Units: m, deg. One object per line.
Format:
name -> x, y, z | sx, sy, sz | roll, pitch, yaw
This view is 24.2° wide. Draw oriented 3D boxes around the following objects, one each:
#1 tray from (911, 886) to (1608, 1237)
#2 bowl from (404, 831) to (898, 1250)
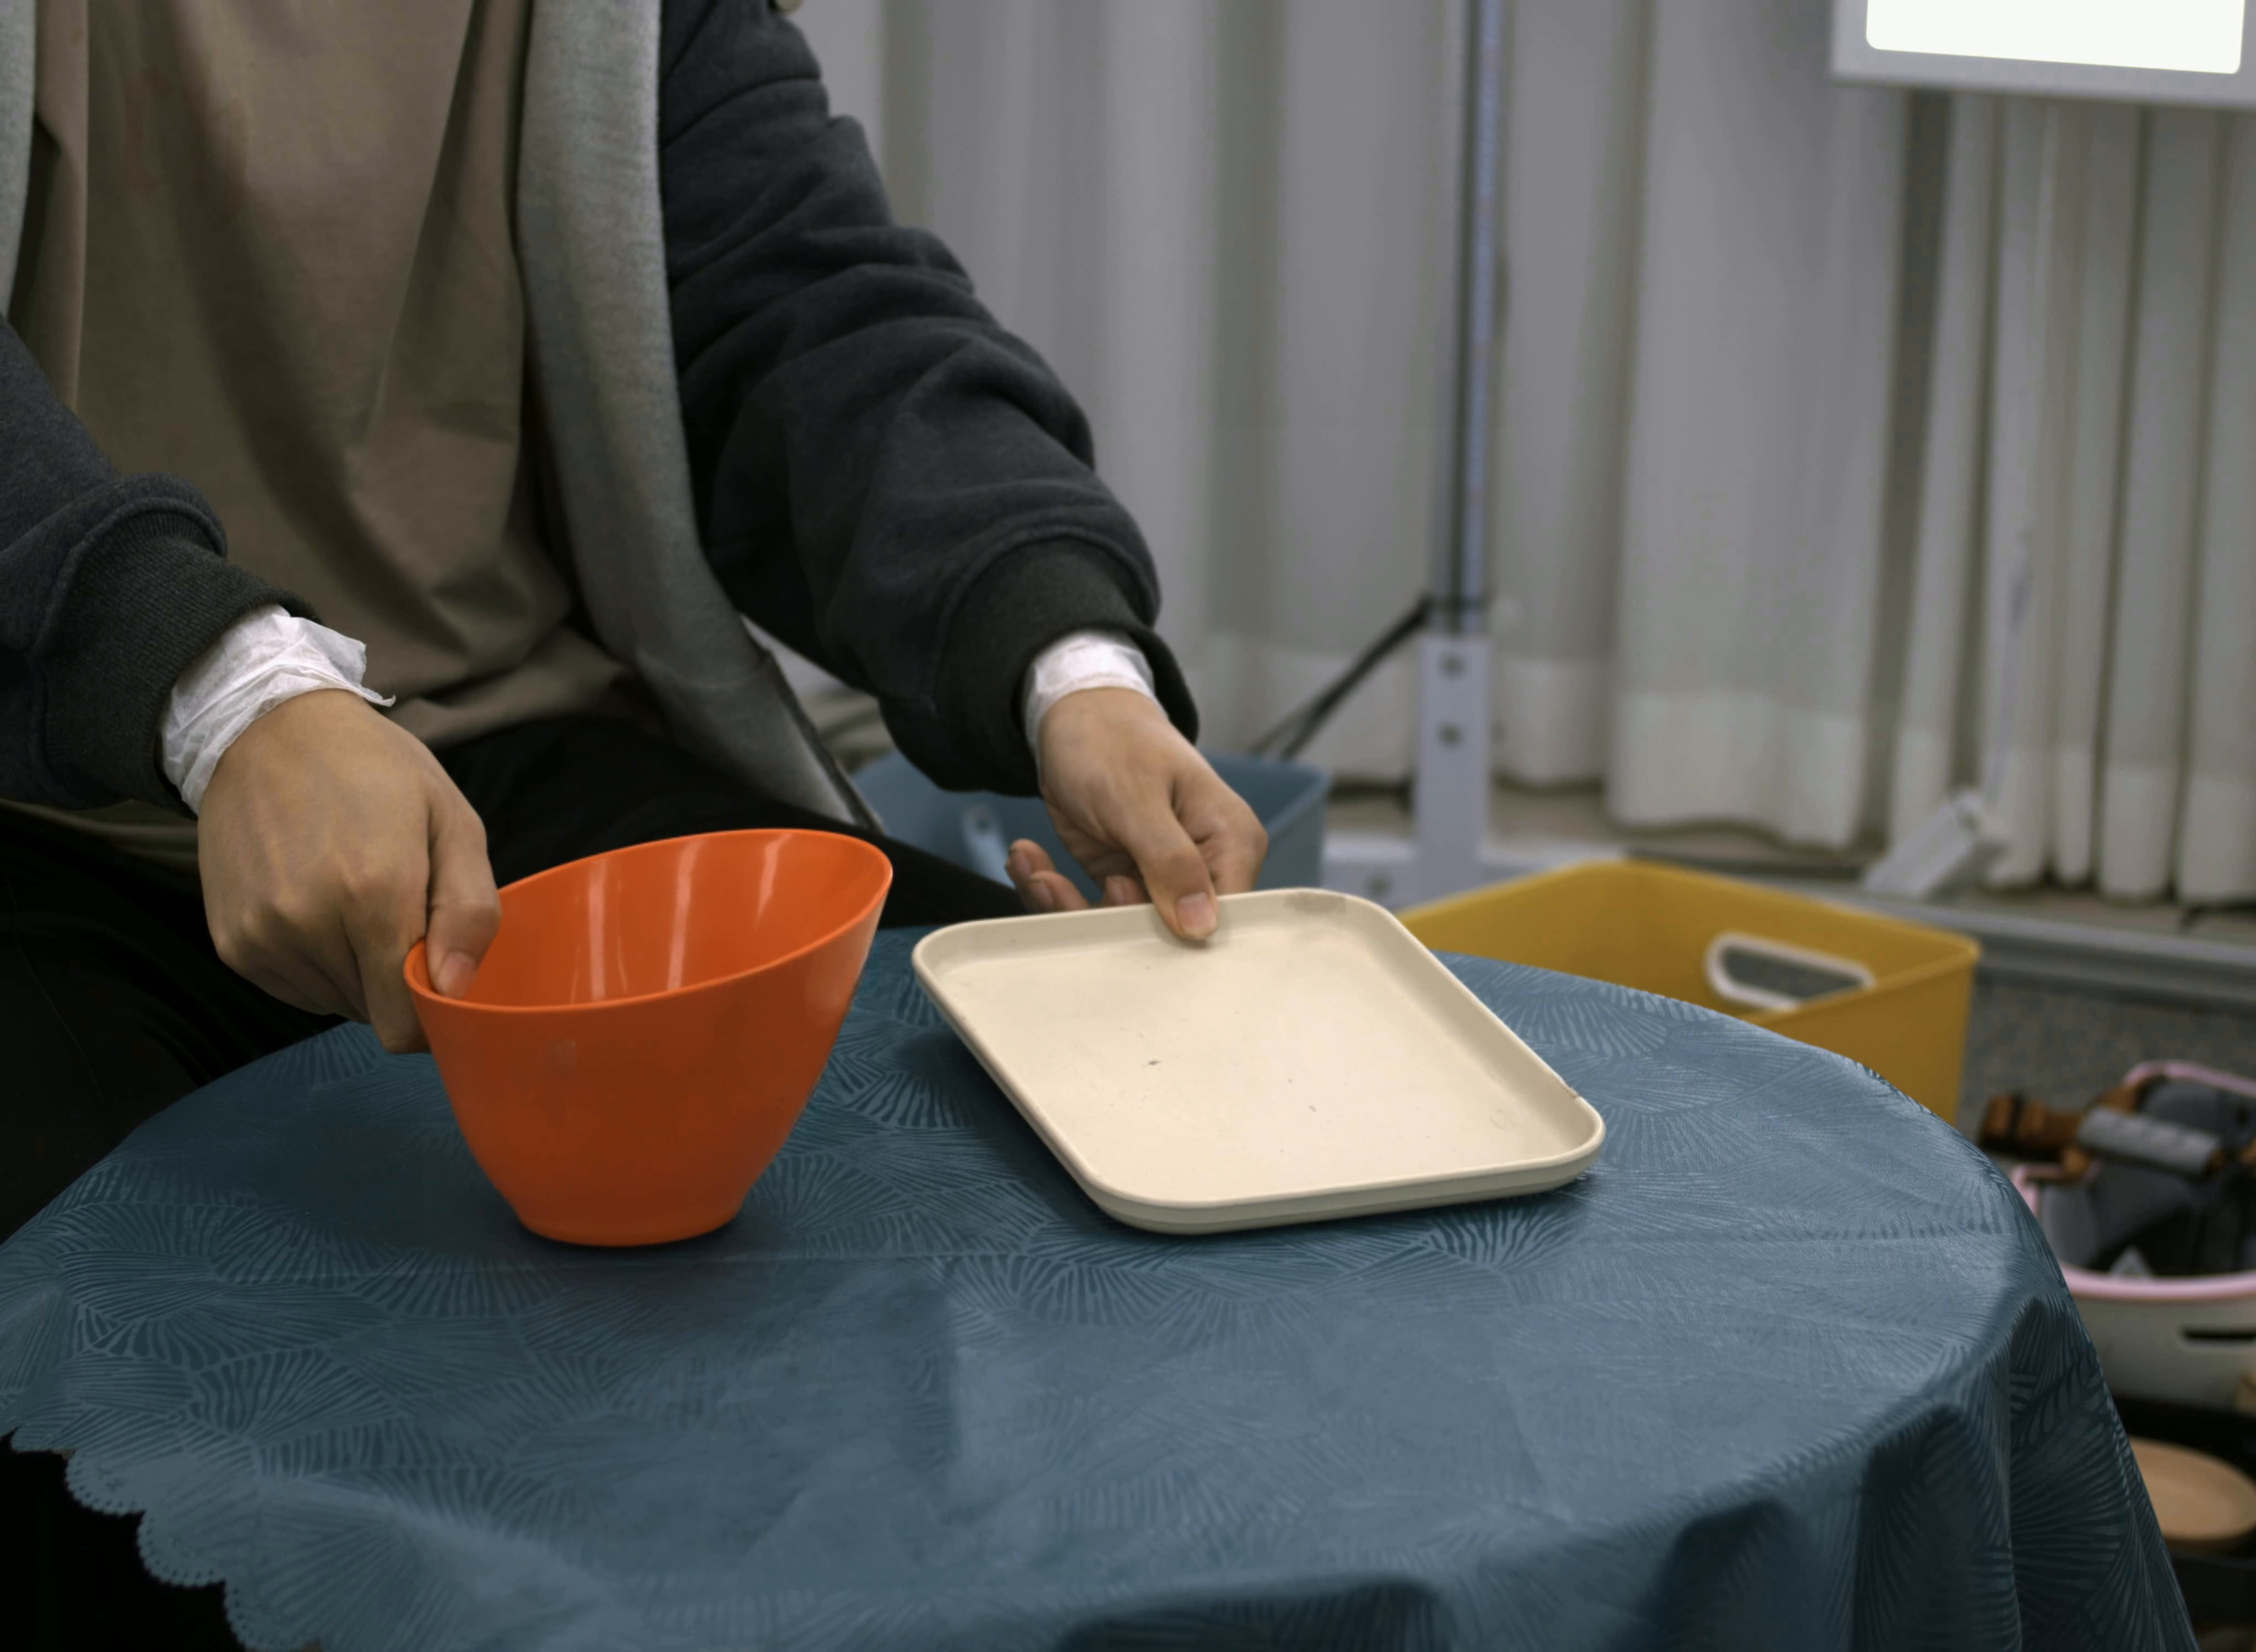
tray -> 0.038, 0.074, 1.694 | 0.171, 0.017, 0.237 | -6, 22, -19
bowl -> -0.142, 0.067, 1.582 | 0.147, 0.105, 0.147 | 1, 15, 0
